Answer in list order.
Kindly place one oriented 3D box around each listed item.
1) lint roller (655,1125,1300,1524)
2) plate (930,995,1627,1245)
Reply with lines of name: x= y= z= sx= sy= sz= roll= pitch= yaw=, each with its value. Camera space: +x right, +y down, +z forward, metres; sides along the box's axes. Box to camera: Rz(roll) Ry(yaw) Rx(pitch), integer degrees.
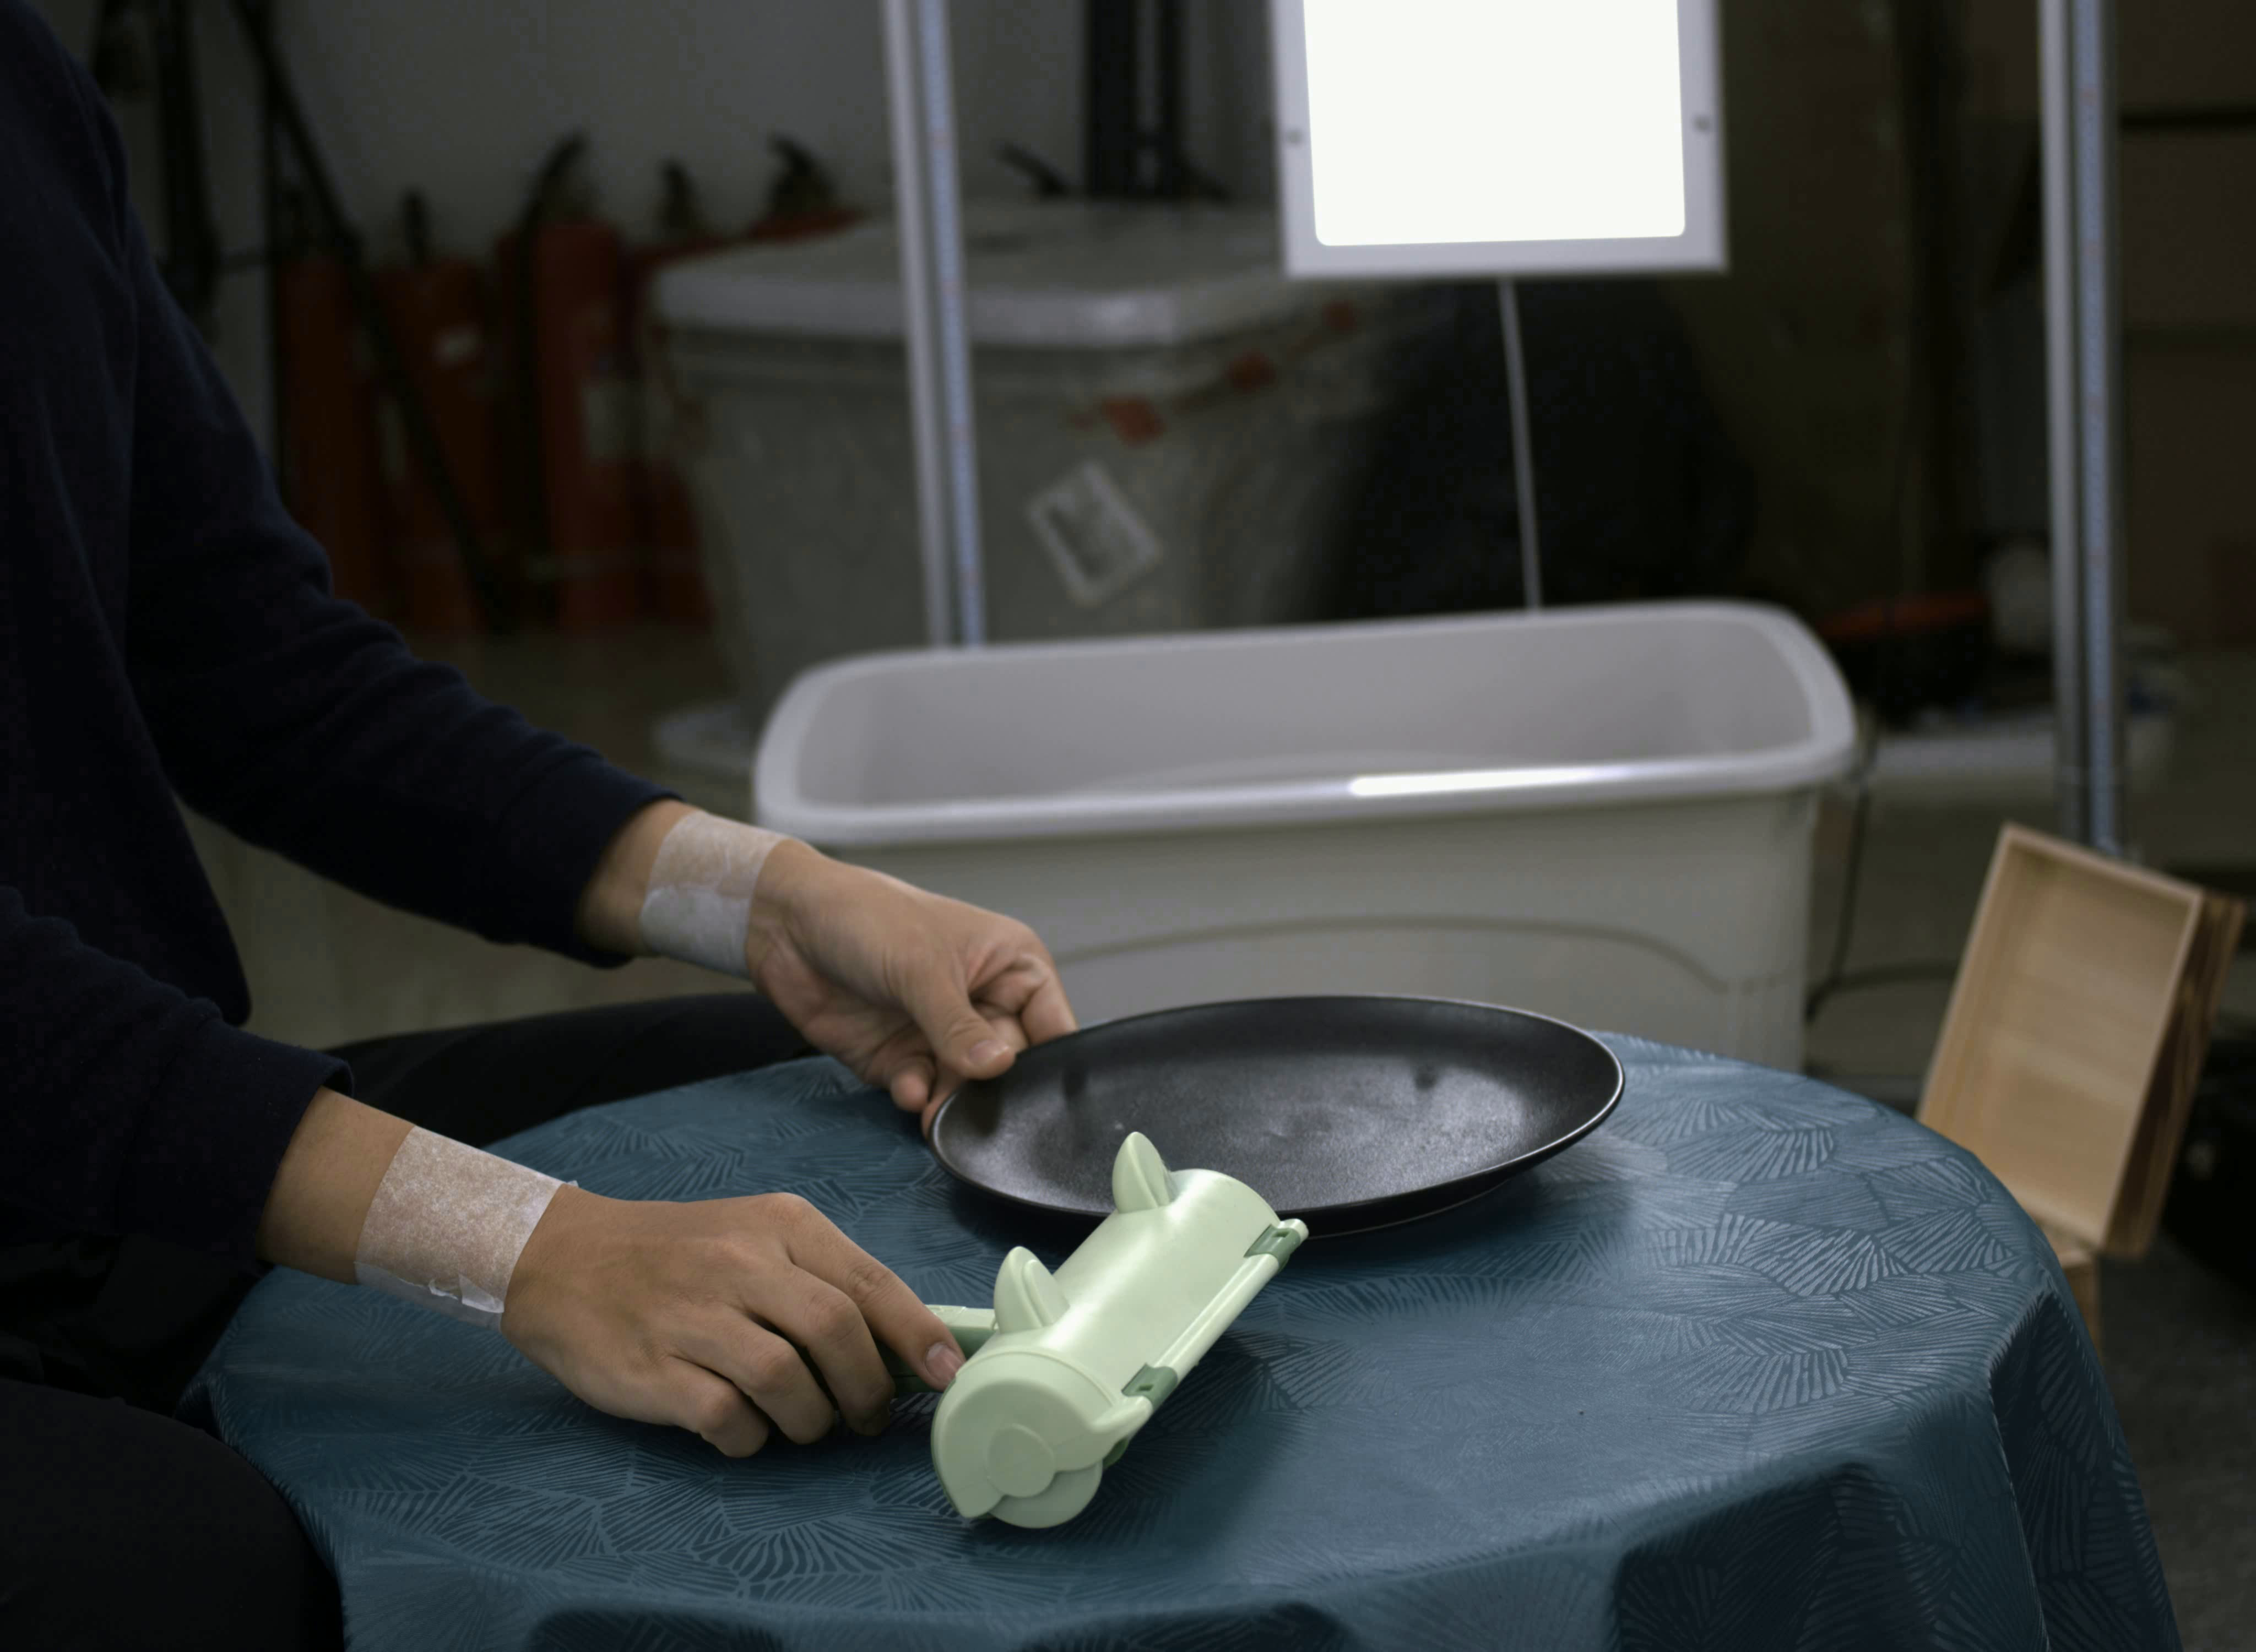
lint roller: x=-0.058 y=0.142 z=1.676 sx=0.185 sy=0.082 sz=0.195 roll=6 pitch=15 yaw=17
plate: x=0.053 y=0.104 z=1.909 sx=0.244 sy=0.023 sz=0.244 roll=-6 pitch=15 yaw=0
